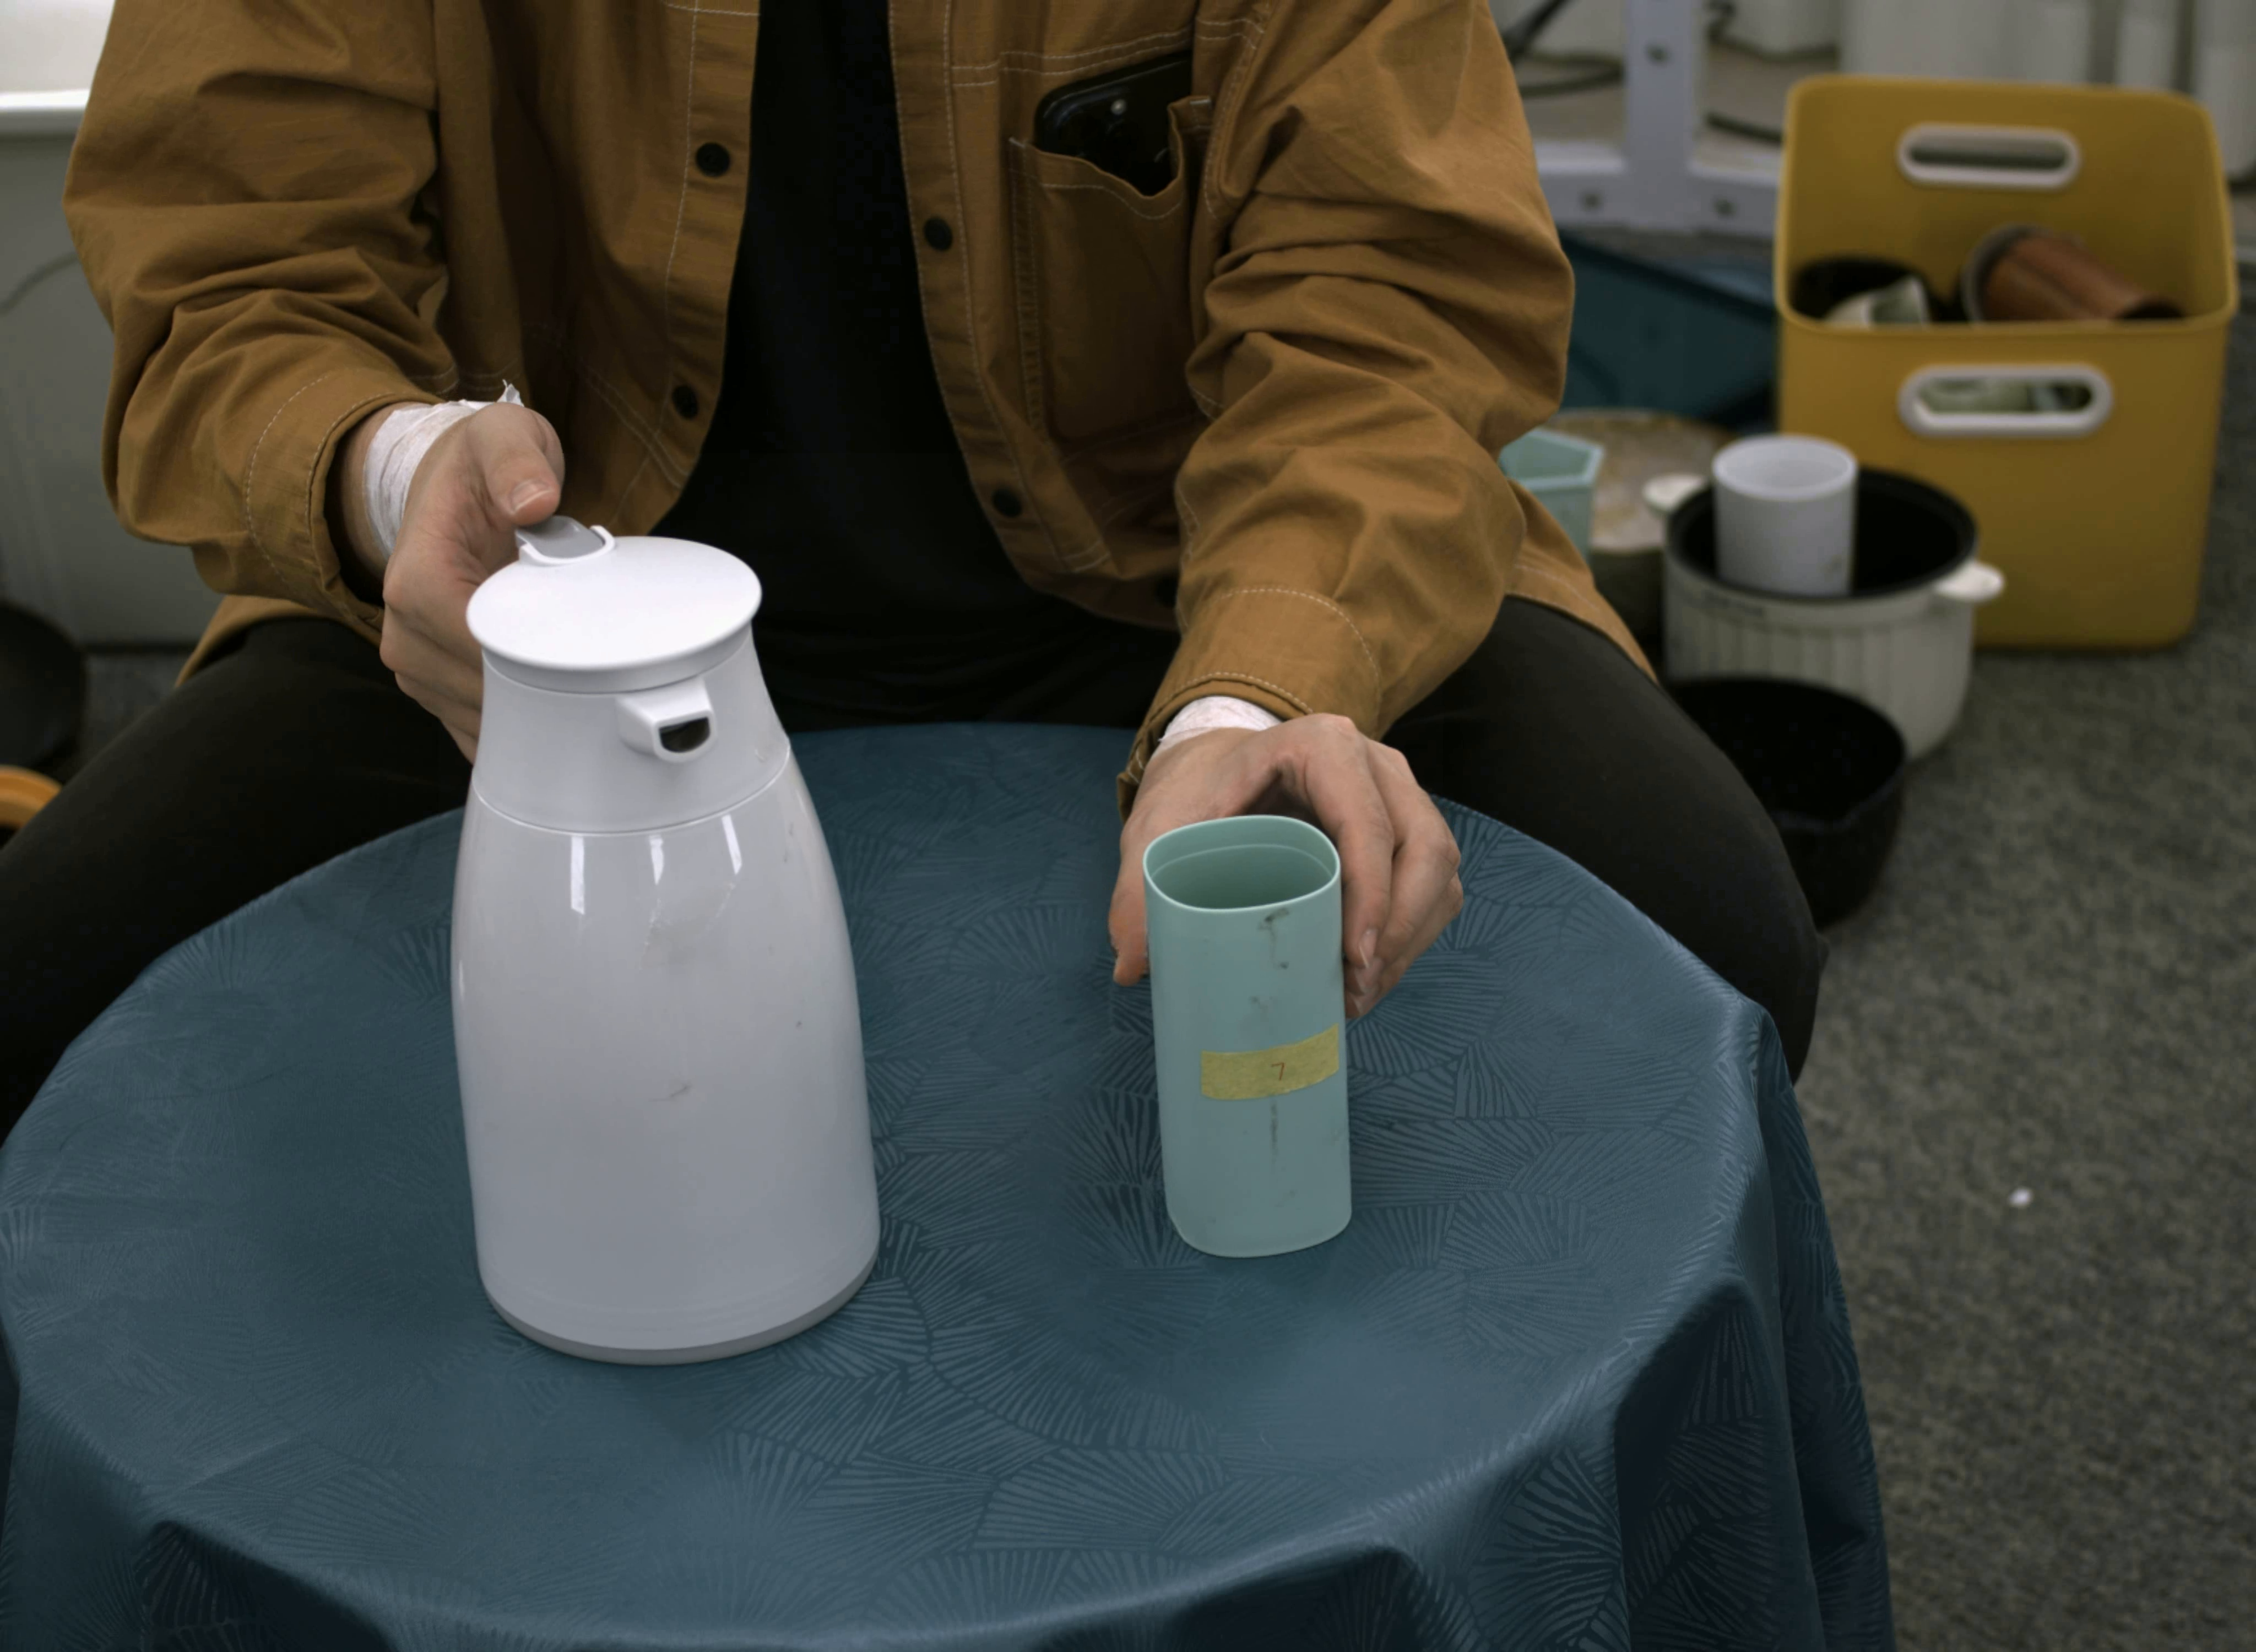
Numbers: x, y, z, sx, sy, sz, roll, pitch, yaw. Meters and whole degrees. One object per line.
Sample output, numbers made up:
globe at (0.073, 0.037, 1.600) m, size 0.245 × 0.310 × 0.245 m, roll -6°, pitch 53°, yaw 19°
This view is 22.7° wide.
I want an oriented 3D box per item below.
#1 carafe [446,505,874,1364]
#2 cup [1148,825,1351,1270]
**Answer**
carafe at (-0.162, 0.024, 1.797) m, size 0.133 × 0.246 × 0.168 m, roll -14°, pitch 28°, yaw -21°
cup at (0.040, 0.071, 1.819) m, size 0.066 × 0.131 × 0.068 m, roll -2°, pitch 27°, yaw 1°
